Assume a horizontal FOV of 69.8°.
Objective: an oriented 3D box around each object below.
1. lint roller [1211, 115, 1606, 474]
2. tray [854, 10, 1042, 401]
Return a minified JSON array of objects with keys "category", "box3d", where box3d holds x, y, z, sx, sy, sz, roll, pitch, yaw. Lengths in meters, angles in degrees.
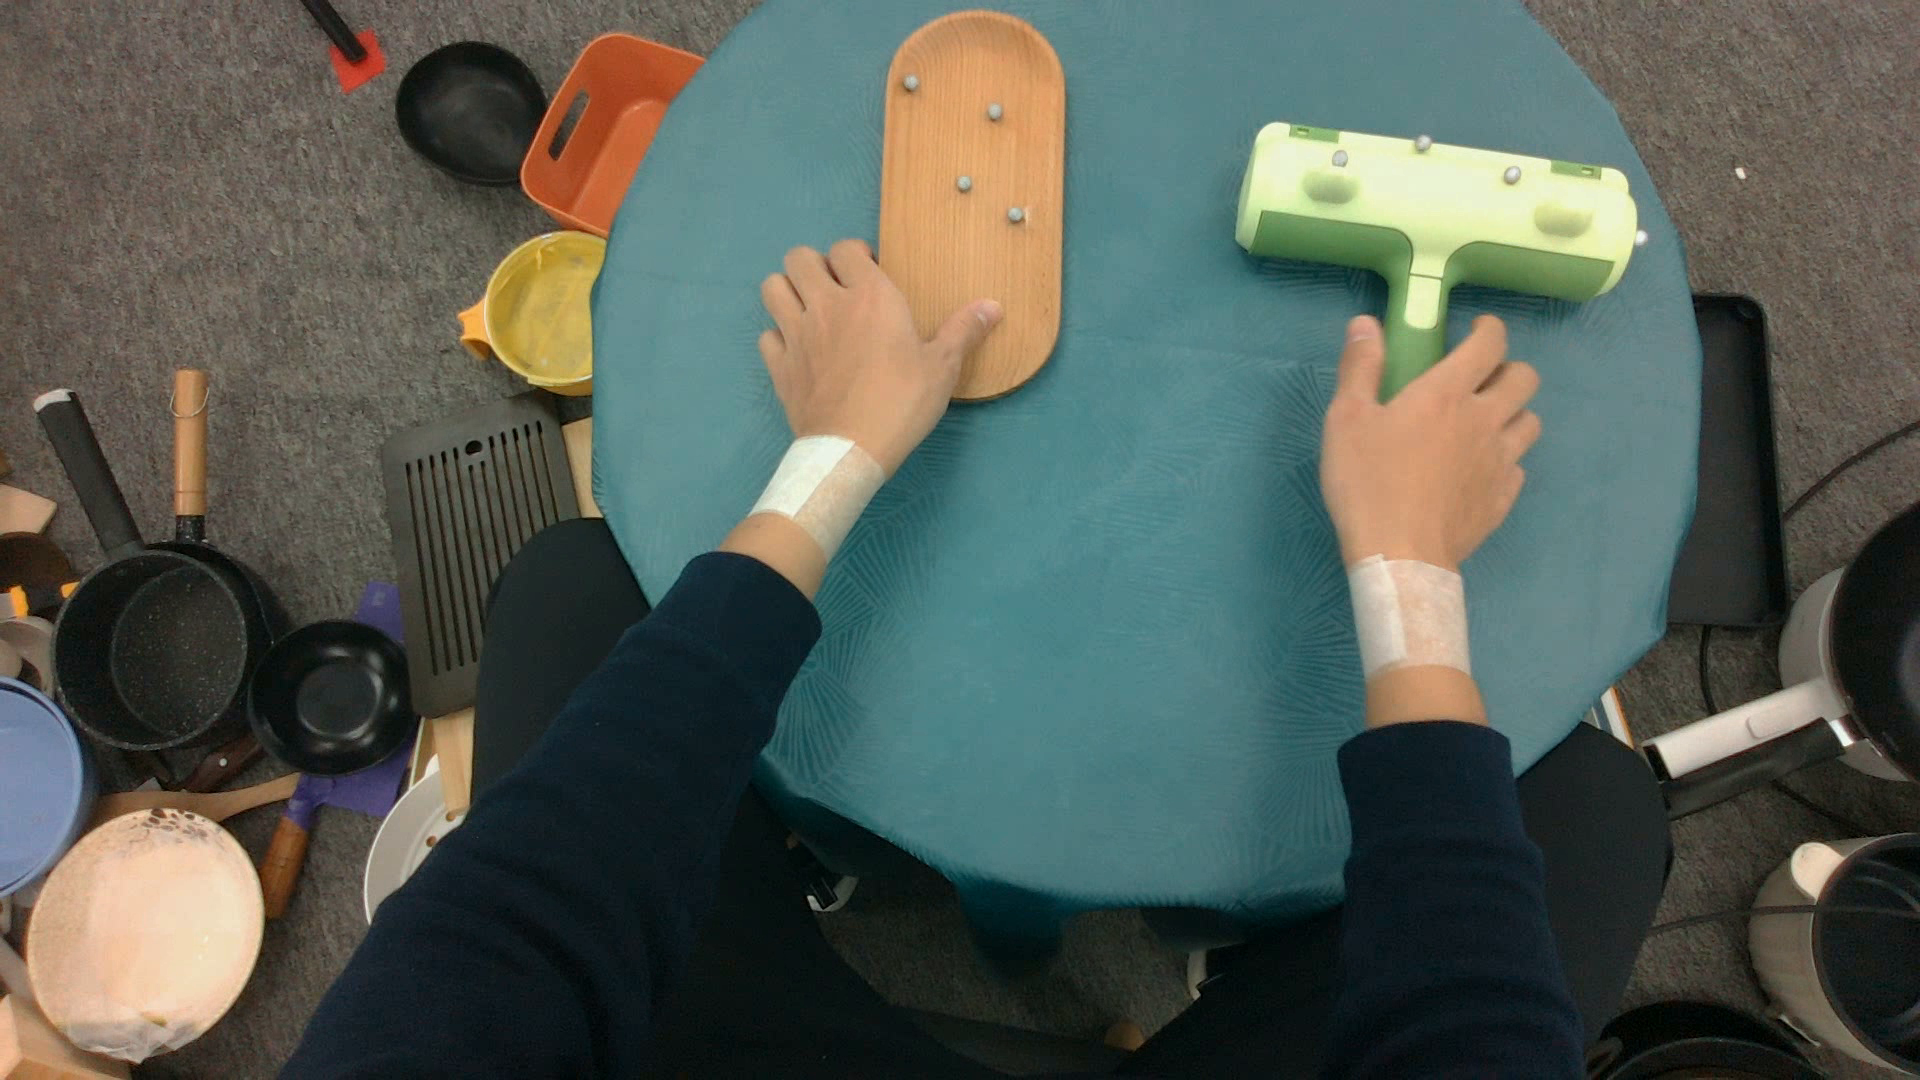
[{"category":"lint roller","box3d":[0.226,-0.130,0.704,0.198,0.082,0.184,7,71,4]},{"category":"tray","box3d":[-0.007,-0.186,0.760,0.101,0.020,0.231,-1,78,1]}]
